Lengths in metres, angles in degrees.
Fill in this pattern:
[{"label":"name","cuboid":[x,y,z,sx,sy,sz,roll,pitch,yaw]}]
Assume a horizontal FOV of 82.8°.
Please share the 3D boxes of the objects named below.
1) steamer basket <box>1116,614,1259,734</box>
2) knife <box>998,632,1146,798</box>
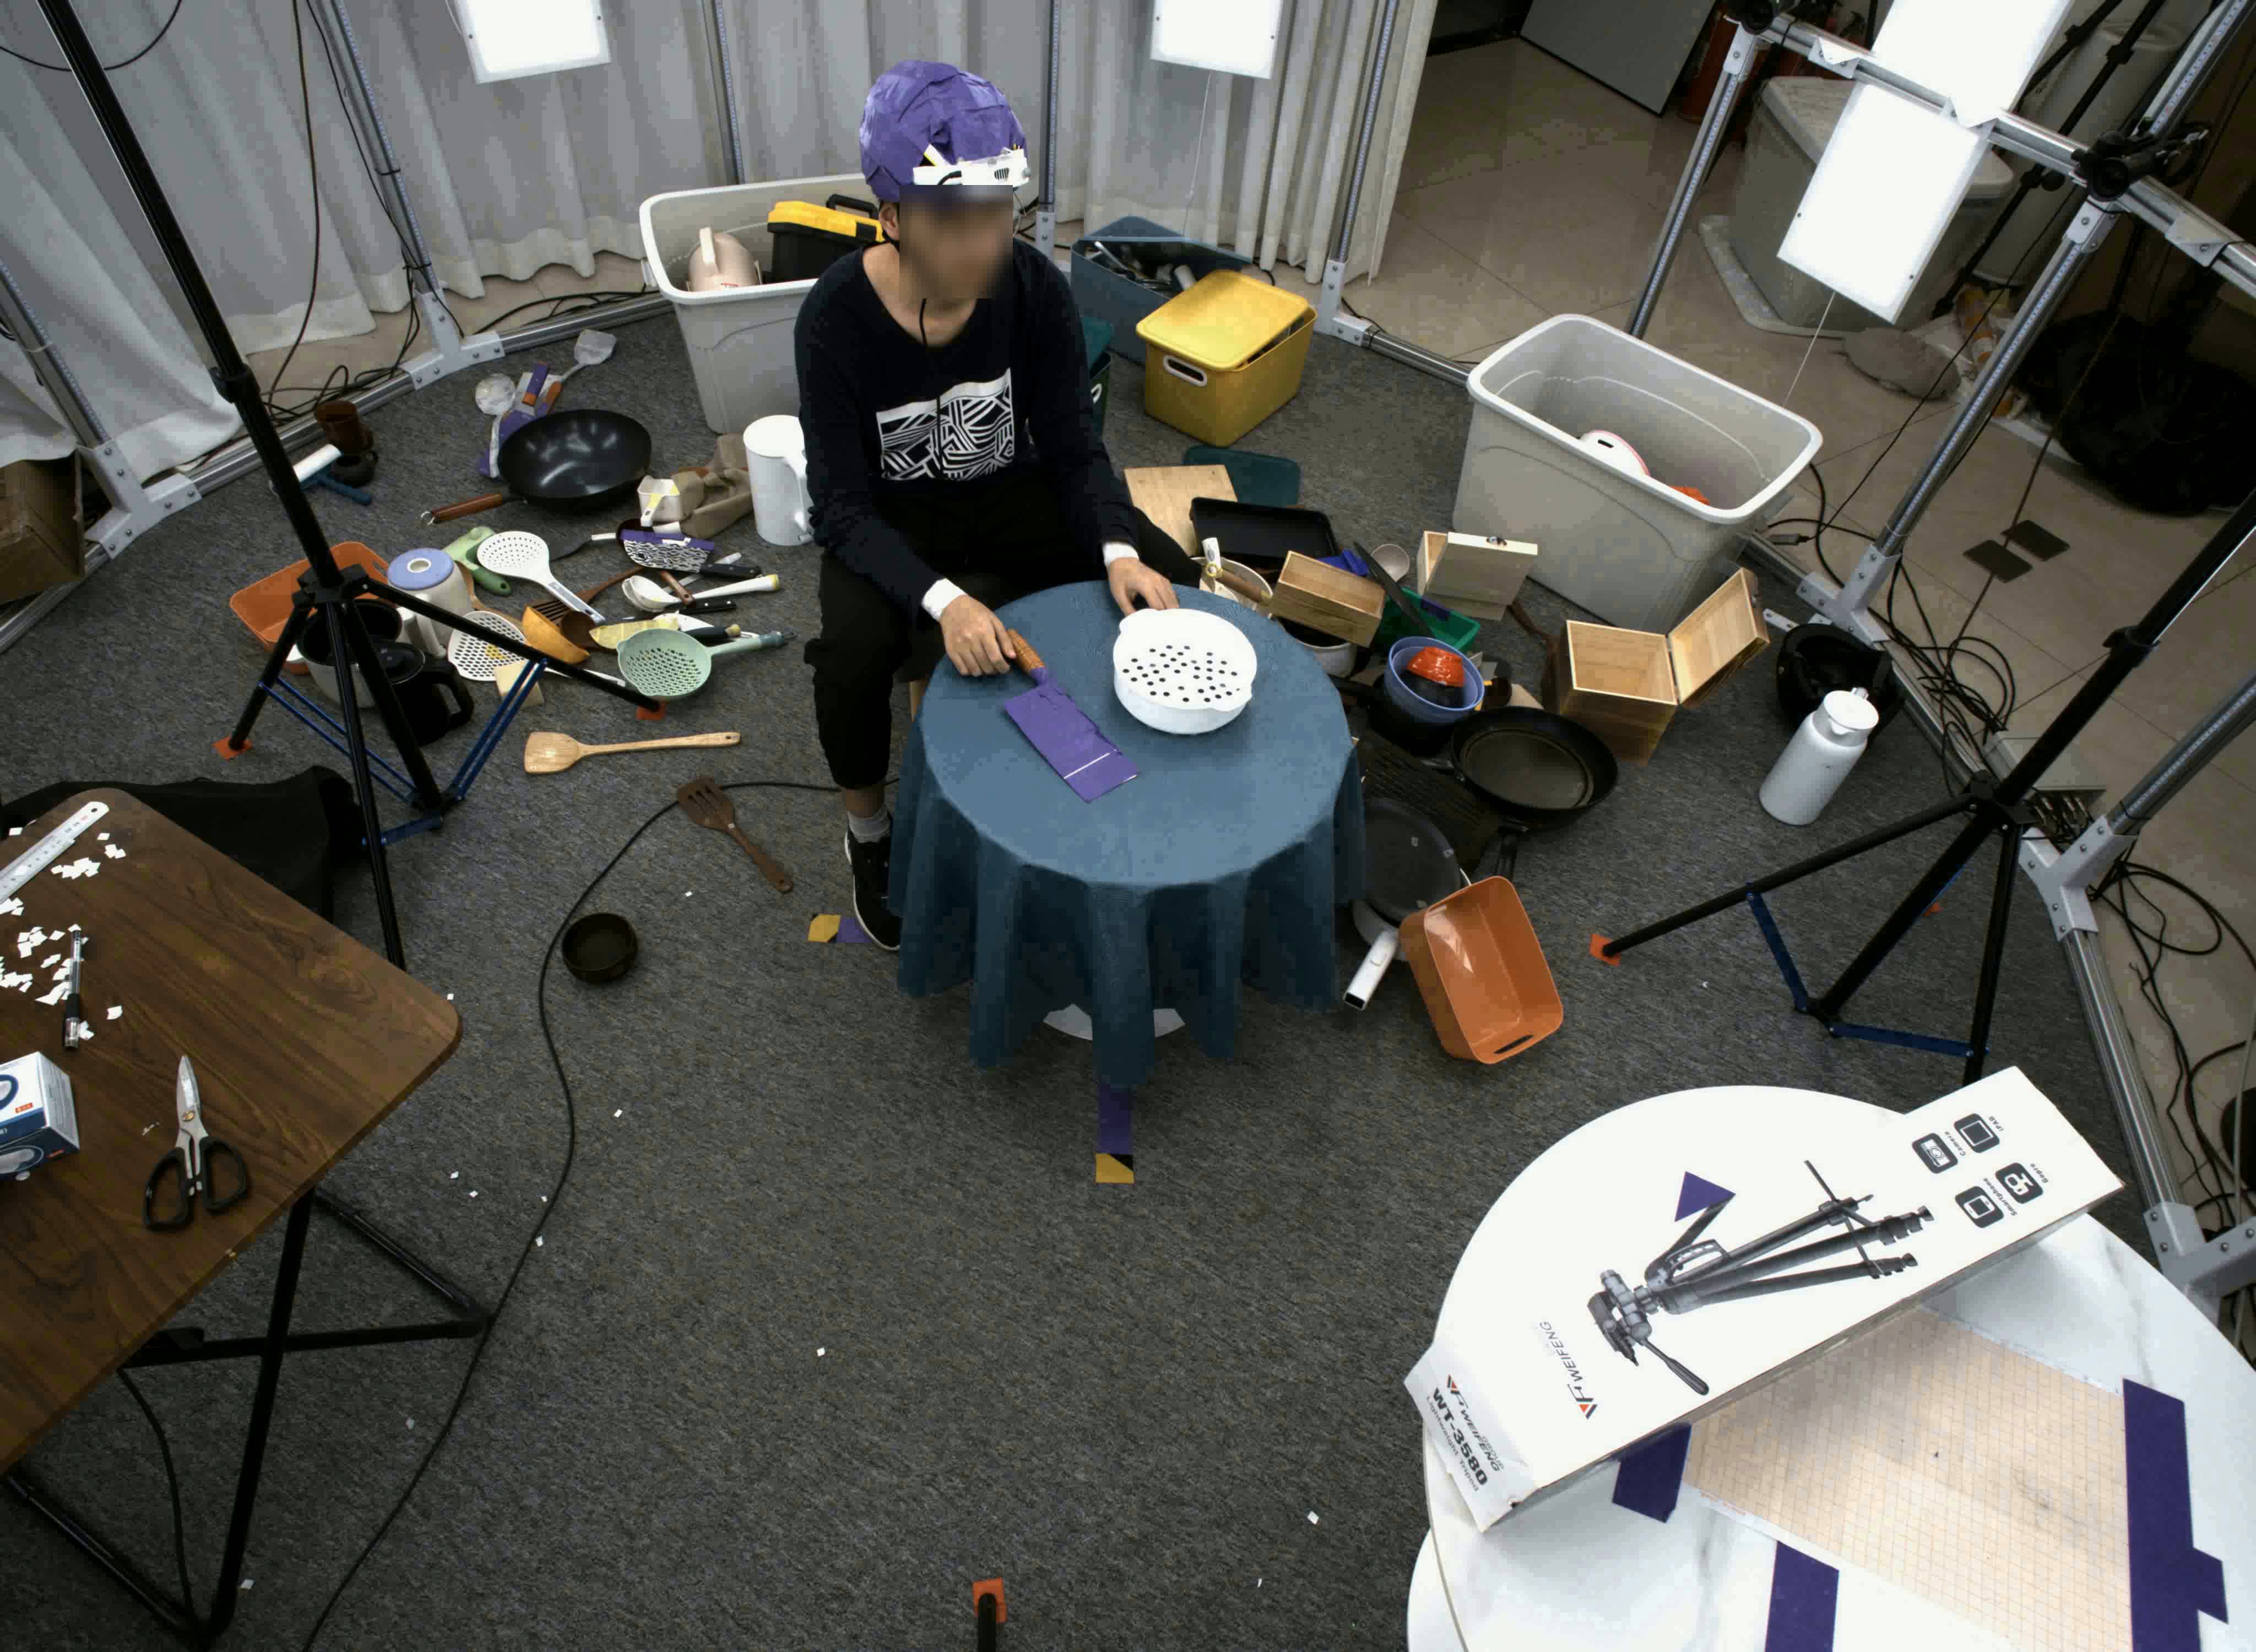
[{"label":"steamer basket","cuboid":[0.082,-0.214,1.816,0.203,0.067,0.234,-30,55,-28]},{"label":"knife","cuboid":[-0.108,-0.158,1.779,0.104,0.031,0.321,-27,57,-25]}]
